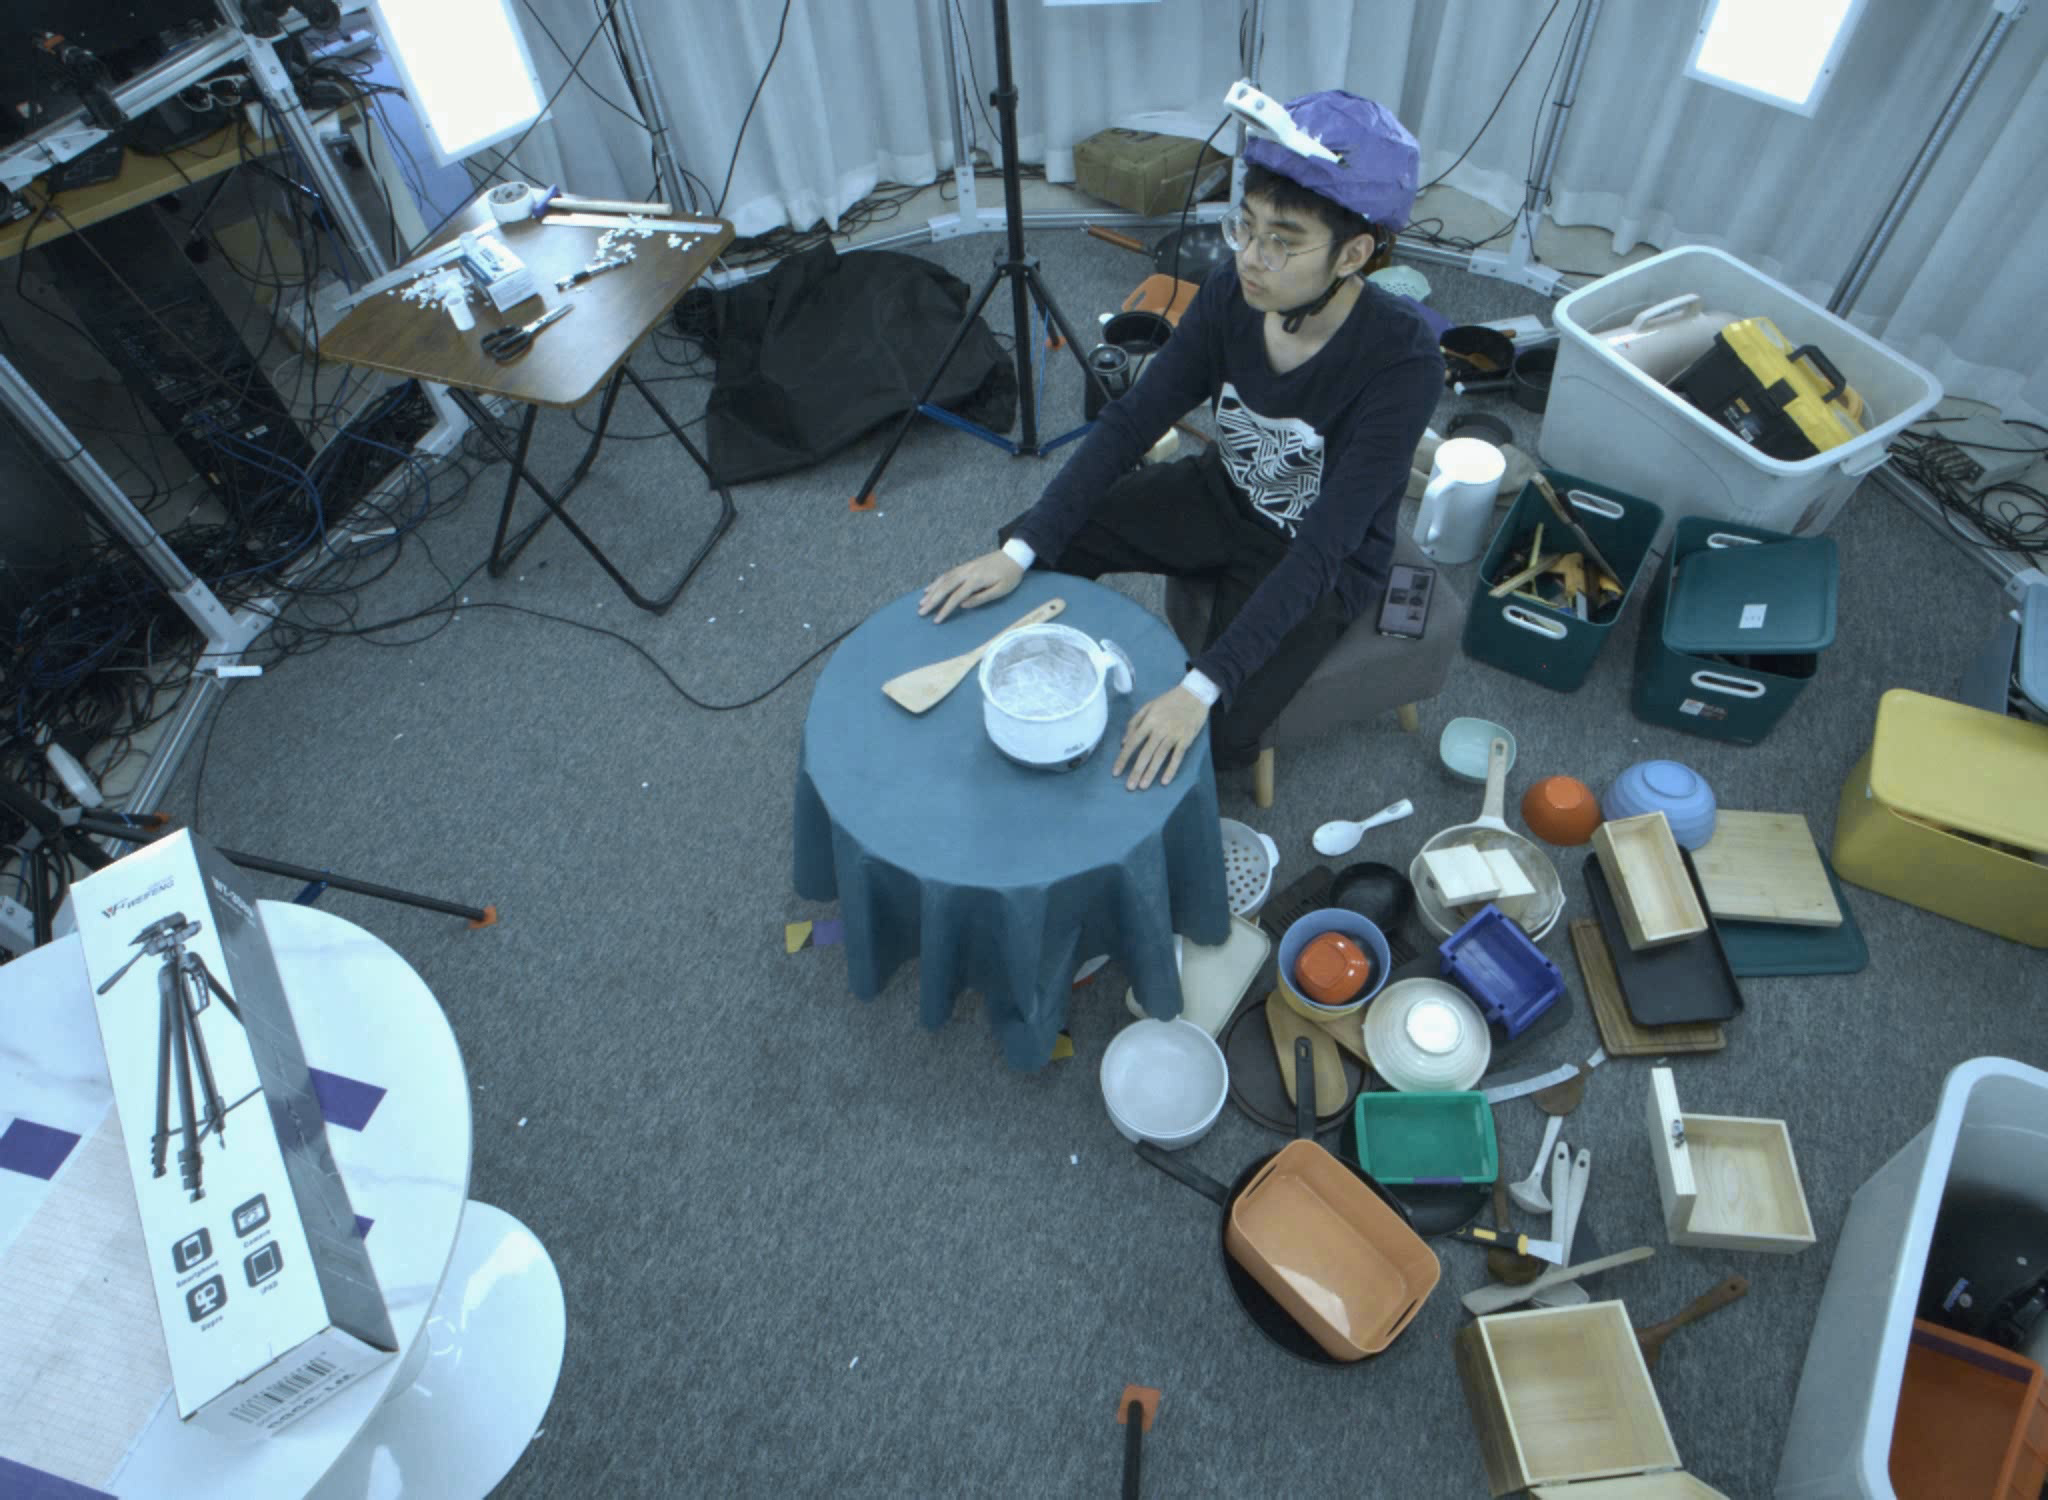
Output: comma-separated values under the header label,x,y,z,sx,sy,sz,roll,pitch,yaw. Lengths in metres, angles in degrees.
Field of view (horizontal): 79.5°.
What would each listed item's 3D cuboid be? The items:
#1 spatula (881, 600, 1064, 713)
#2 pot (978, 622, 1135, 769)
label,x,y,z,sx,sy,sz,roll,pitch,yaw
spatula,-0.068,-0.152,1.896,0.330,0.017,0.078,-33,61,-21
pot,0.053,-0.087,1.767,0.235,0.138,0.175,-26,59,-14
